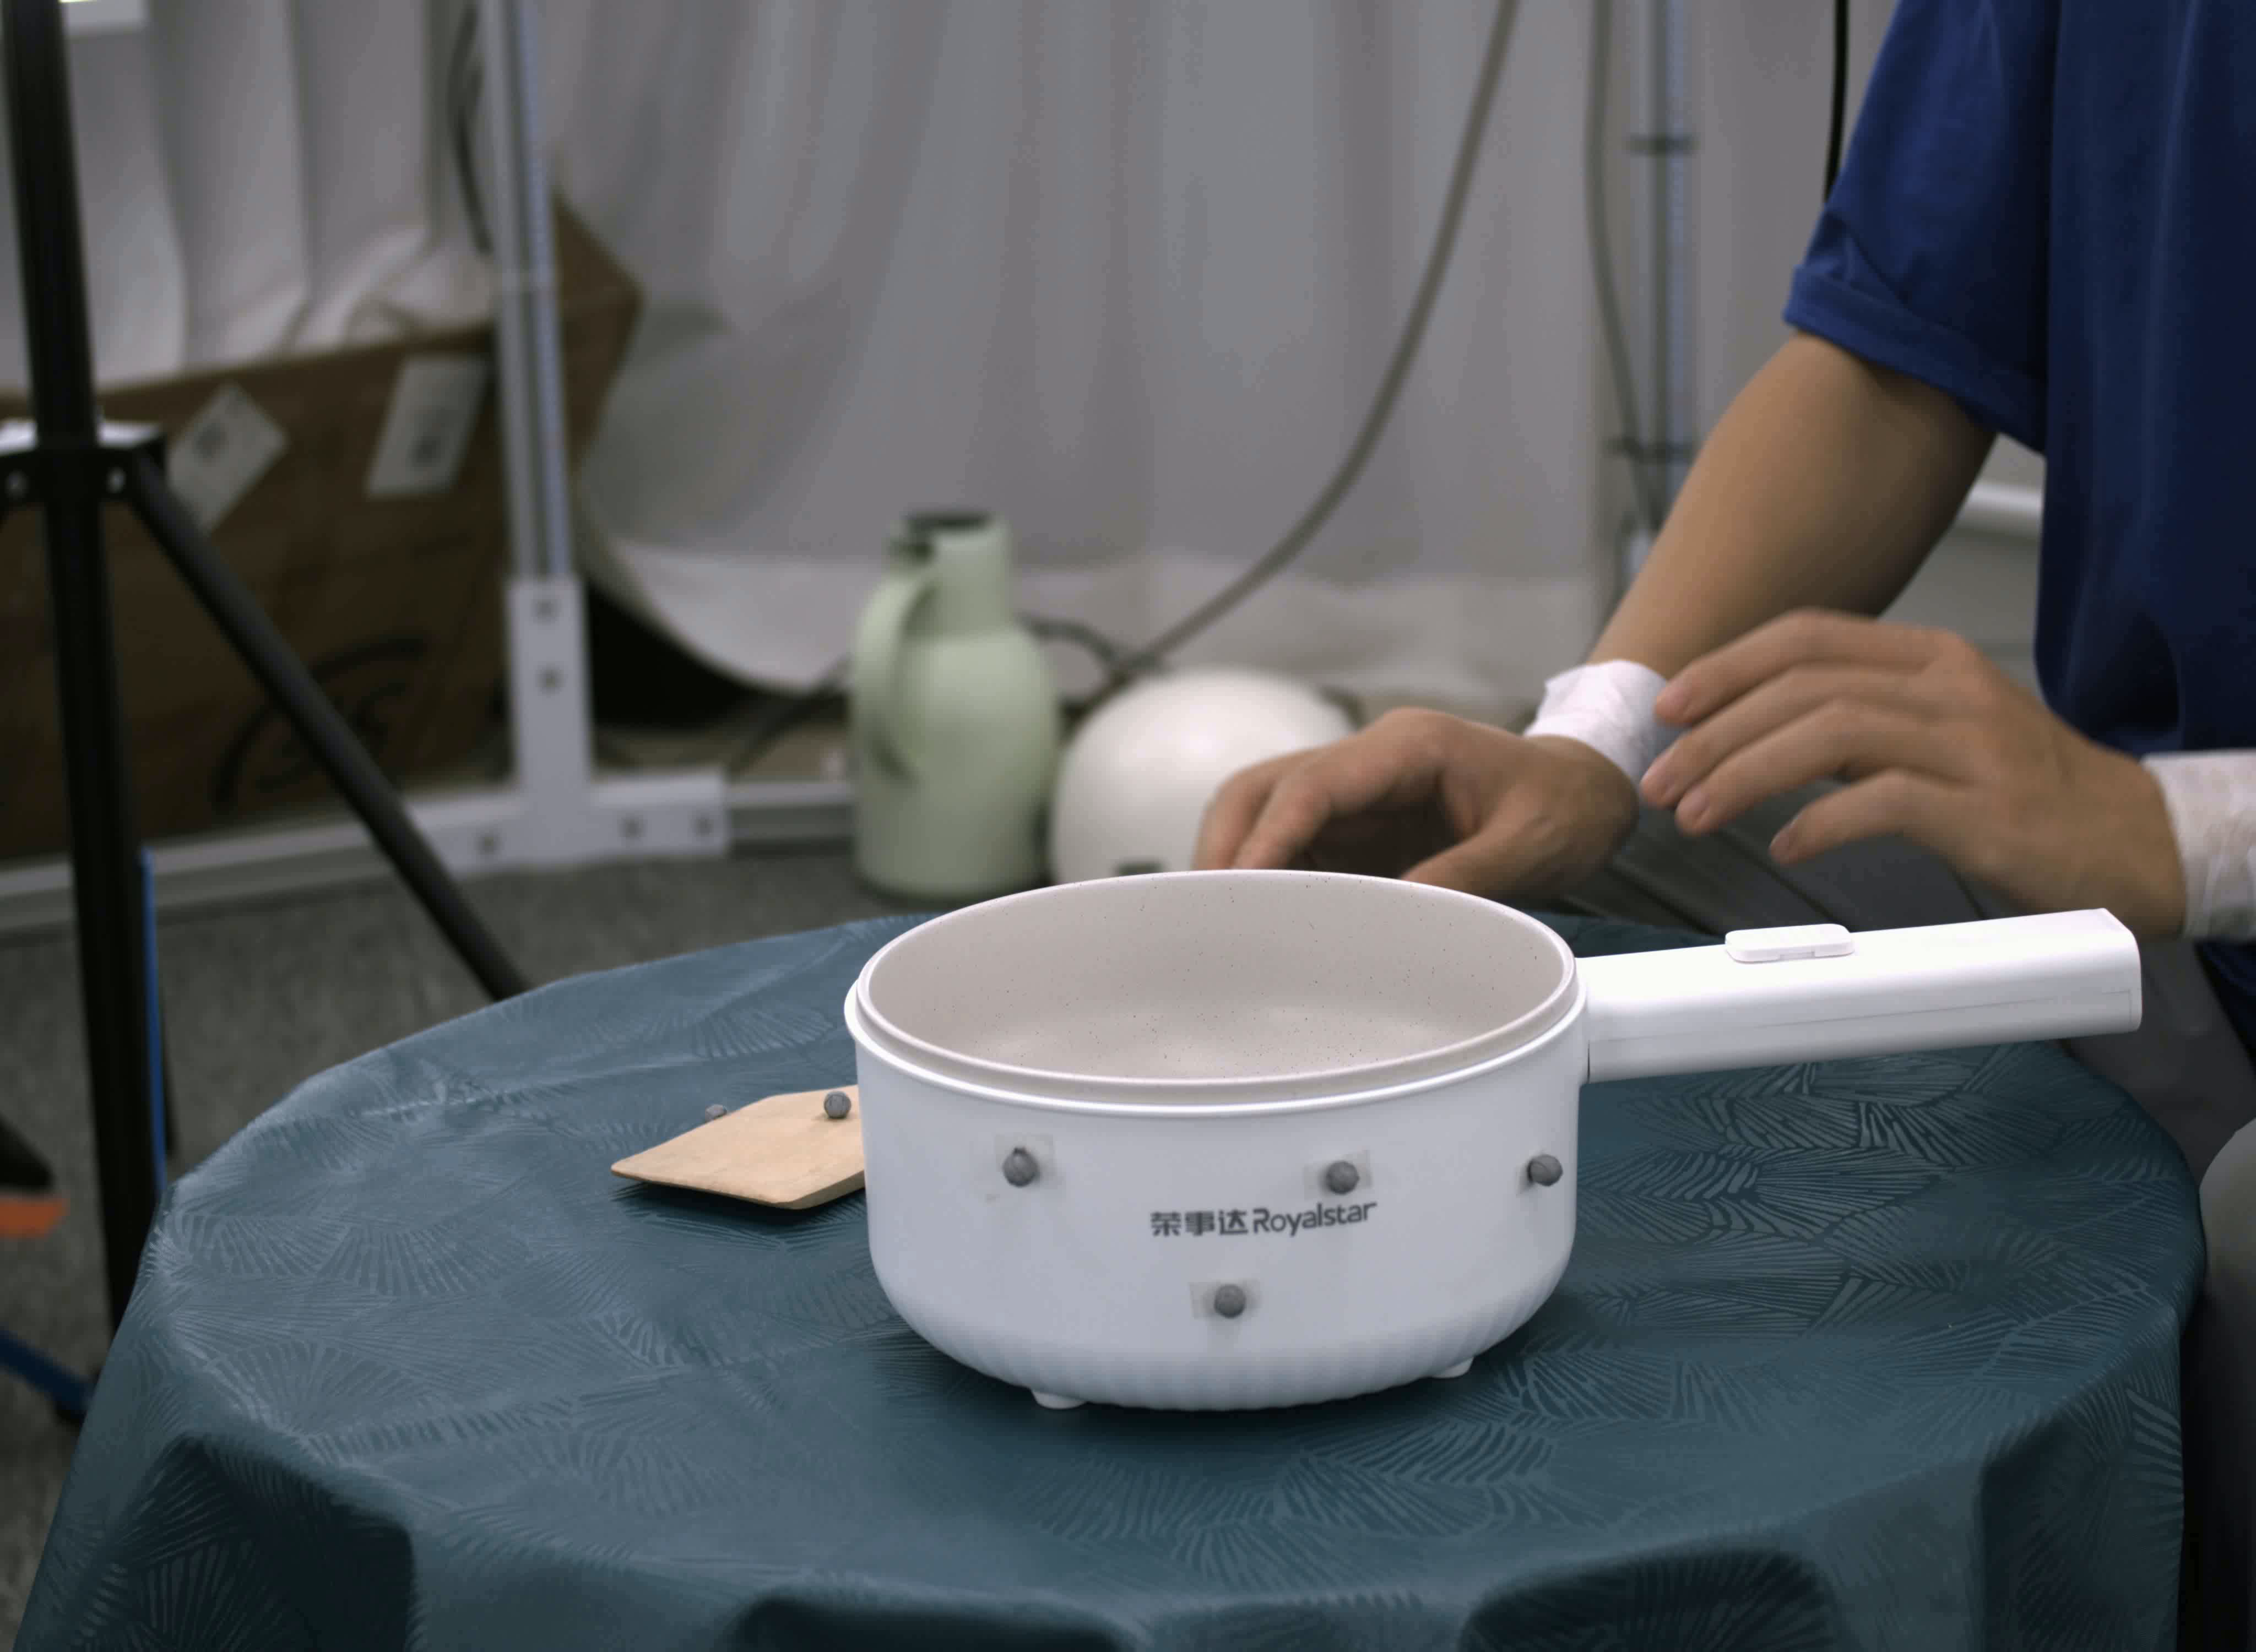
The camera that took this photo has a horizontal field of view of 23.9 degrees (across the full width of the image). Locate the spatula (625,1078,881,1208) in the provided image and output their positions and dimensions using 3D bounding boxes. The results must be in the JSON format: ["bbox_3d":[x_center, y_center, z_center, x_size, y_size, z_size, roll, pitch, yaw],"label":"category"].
[{"bbox_3d":[-0.046,0.072,1.674,0.073,0.010,0.287,7,18,33],"label":"spatula"}]

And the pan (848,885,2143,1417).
[{"bbox_3d":[0.102,0.084,1.449,0.351,0.102,0.203,-4,14,-5],"label":"pan"}]
